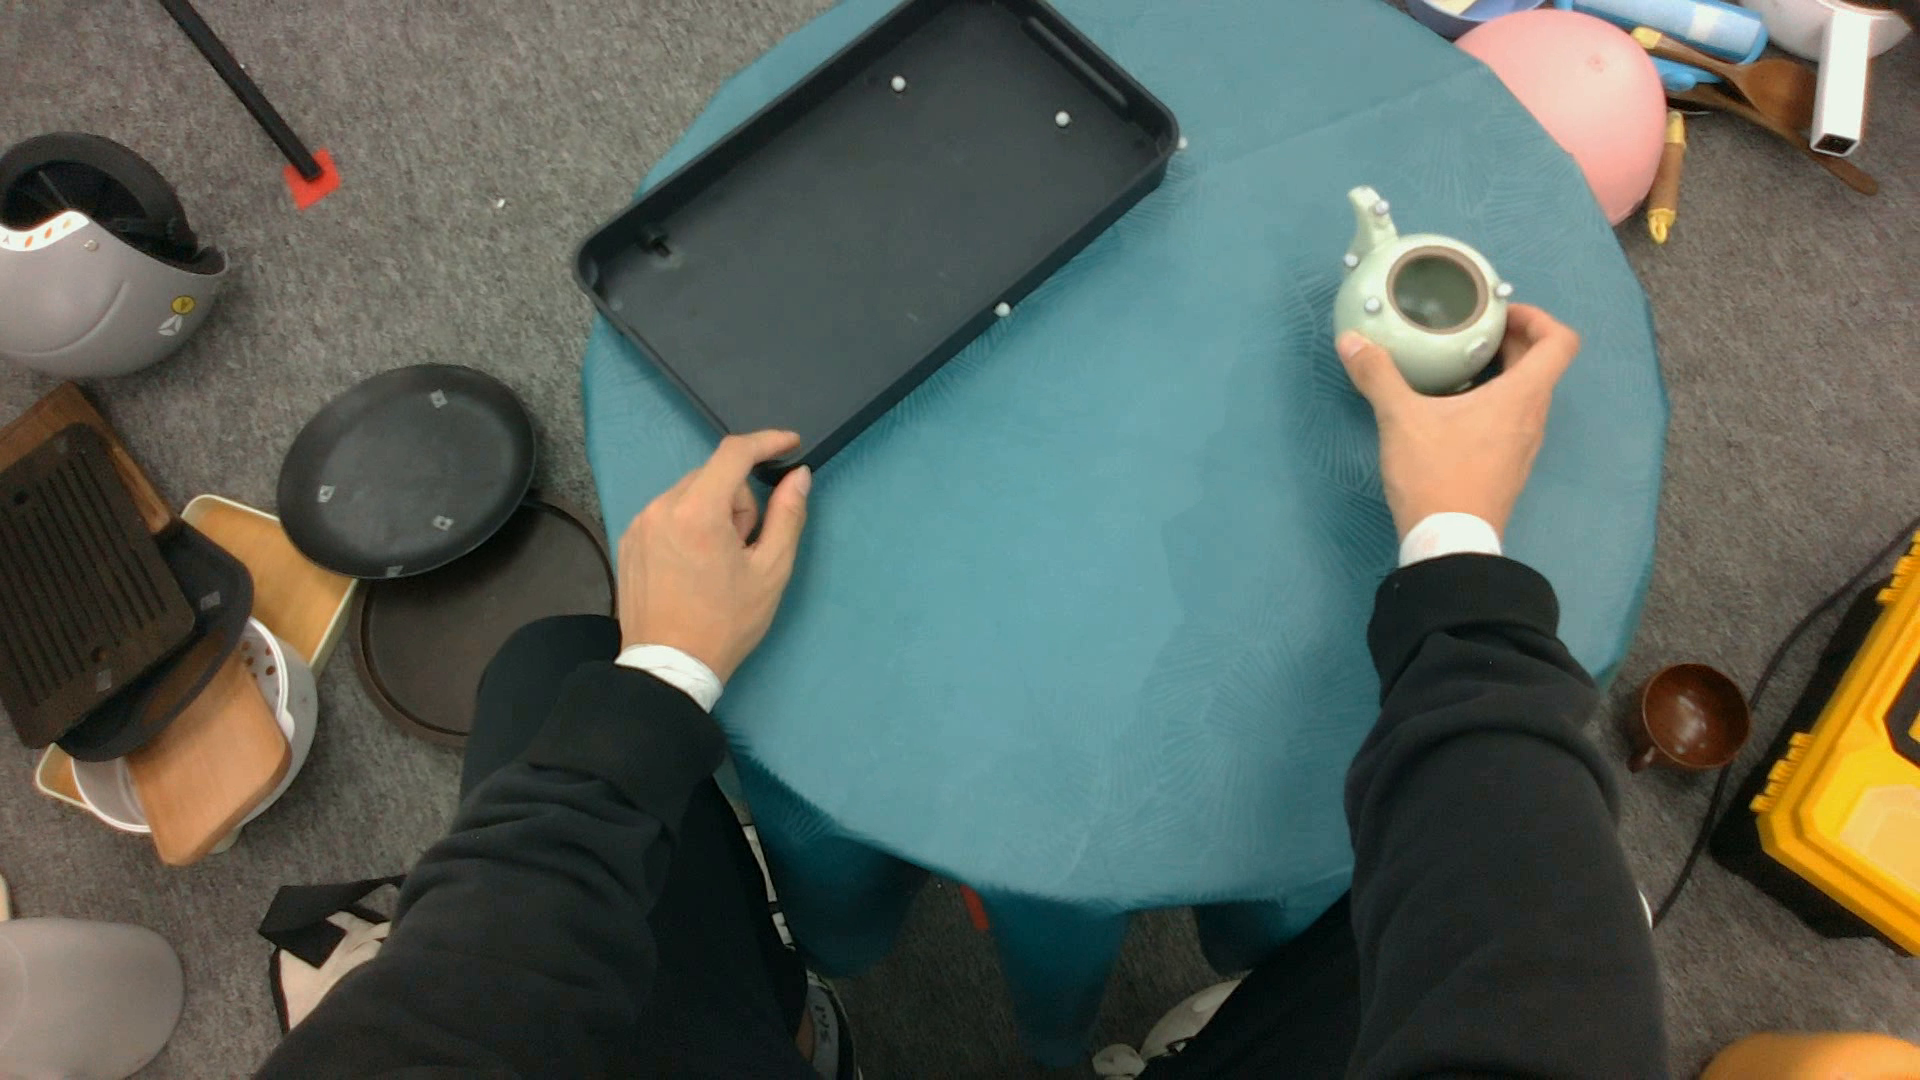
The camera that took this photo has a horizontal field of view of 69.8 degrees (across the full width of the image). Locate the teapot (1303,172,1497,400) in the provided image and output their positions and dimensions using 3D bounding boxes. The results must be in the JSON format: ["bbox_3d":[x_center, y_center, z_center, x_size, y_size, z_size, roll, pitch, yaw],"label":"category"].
[{"bbox_3d":[0.231,-0.129,0.747,0.088,0.074,0.144,-30,73,-11],"label":"teapot"}]

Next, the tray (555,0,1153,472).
[{"bbox_3d":[-0.056,-0.198,0.786,0.184,0.037,0.319,43,76,13],"label":"tray"}]
